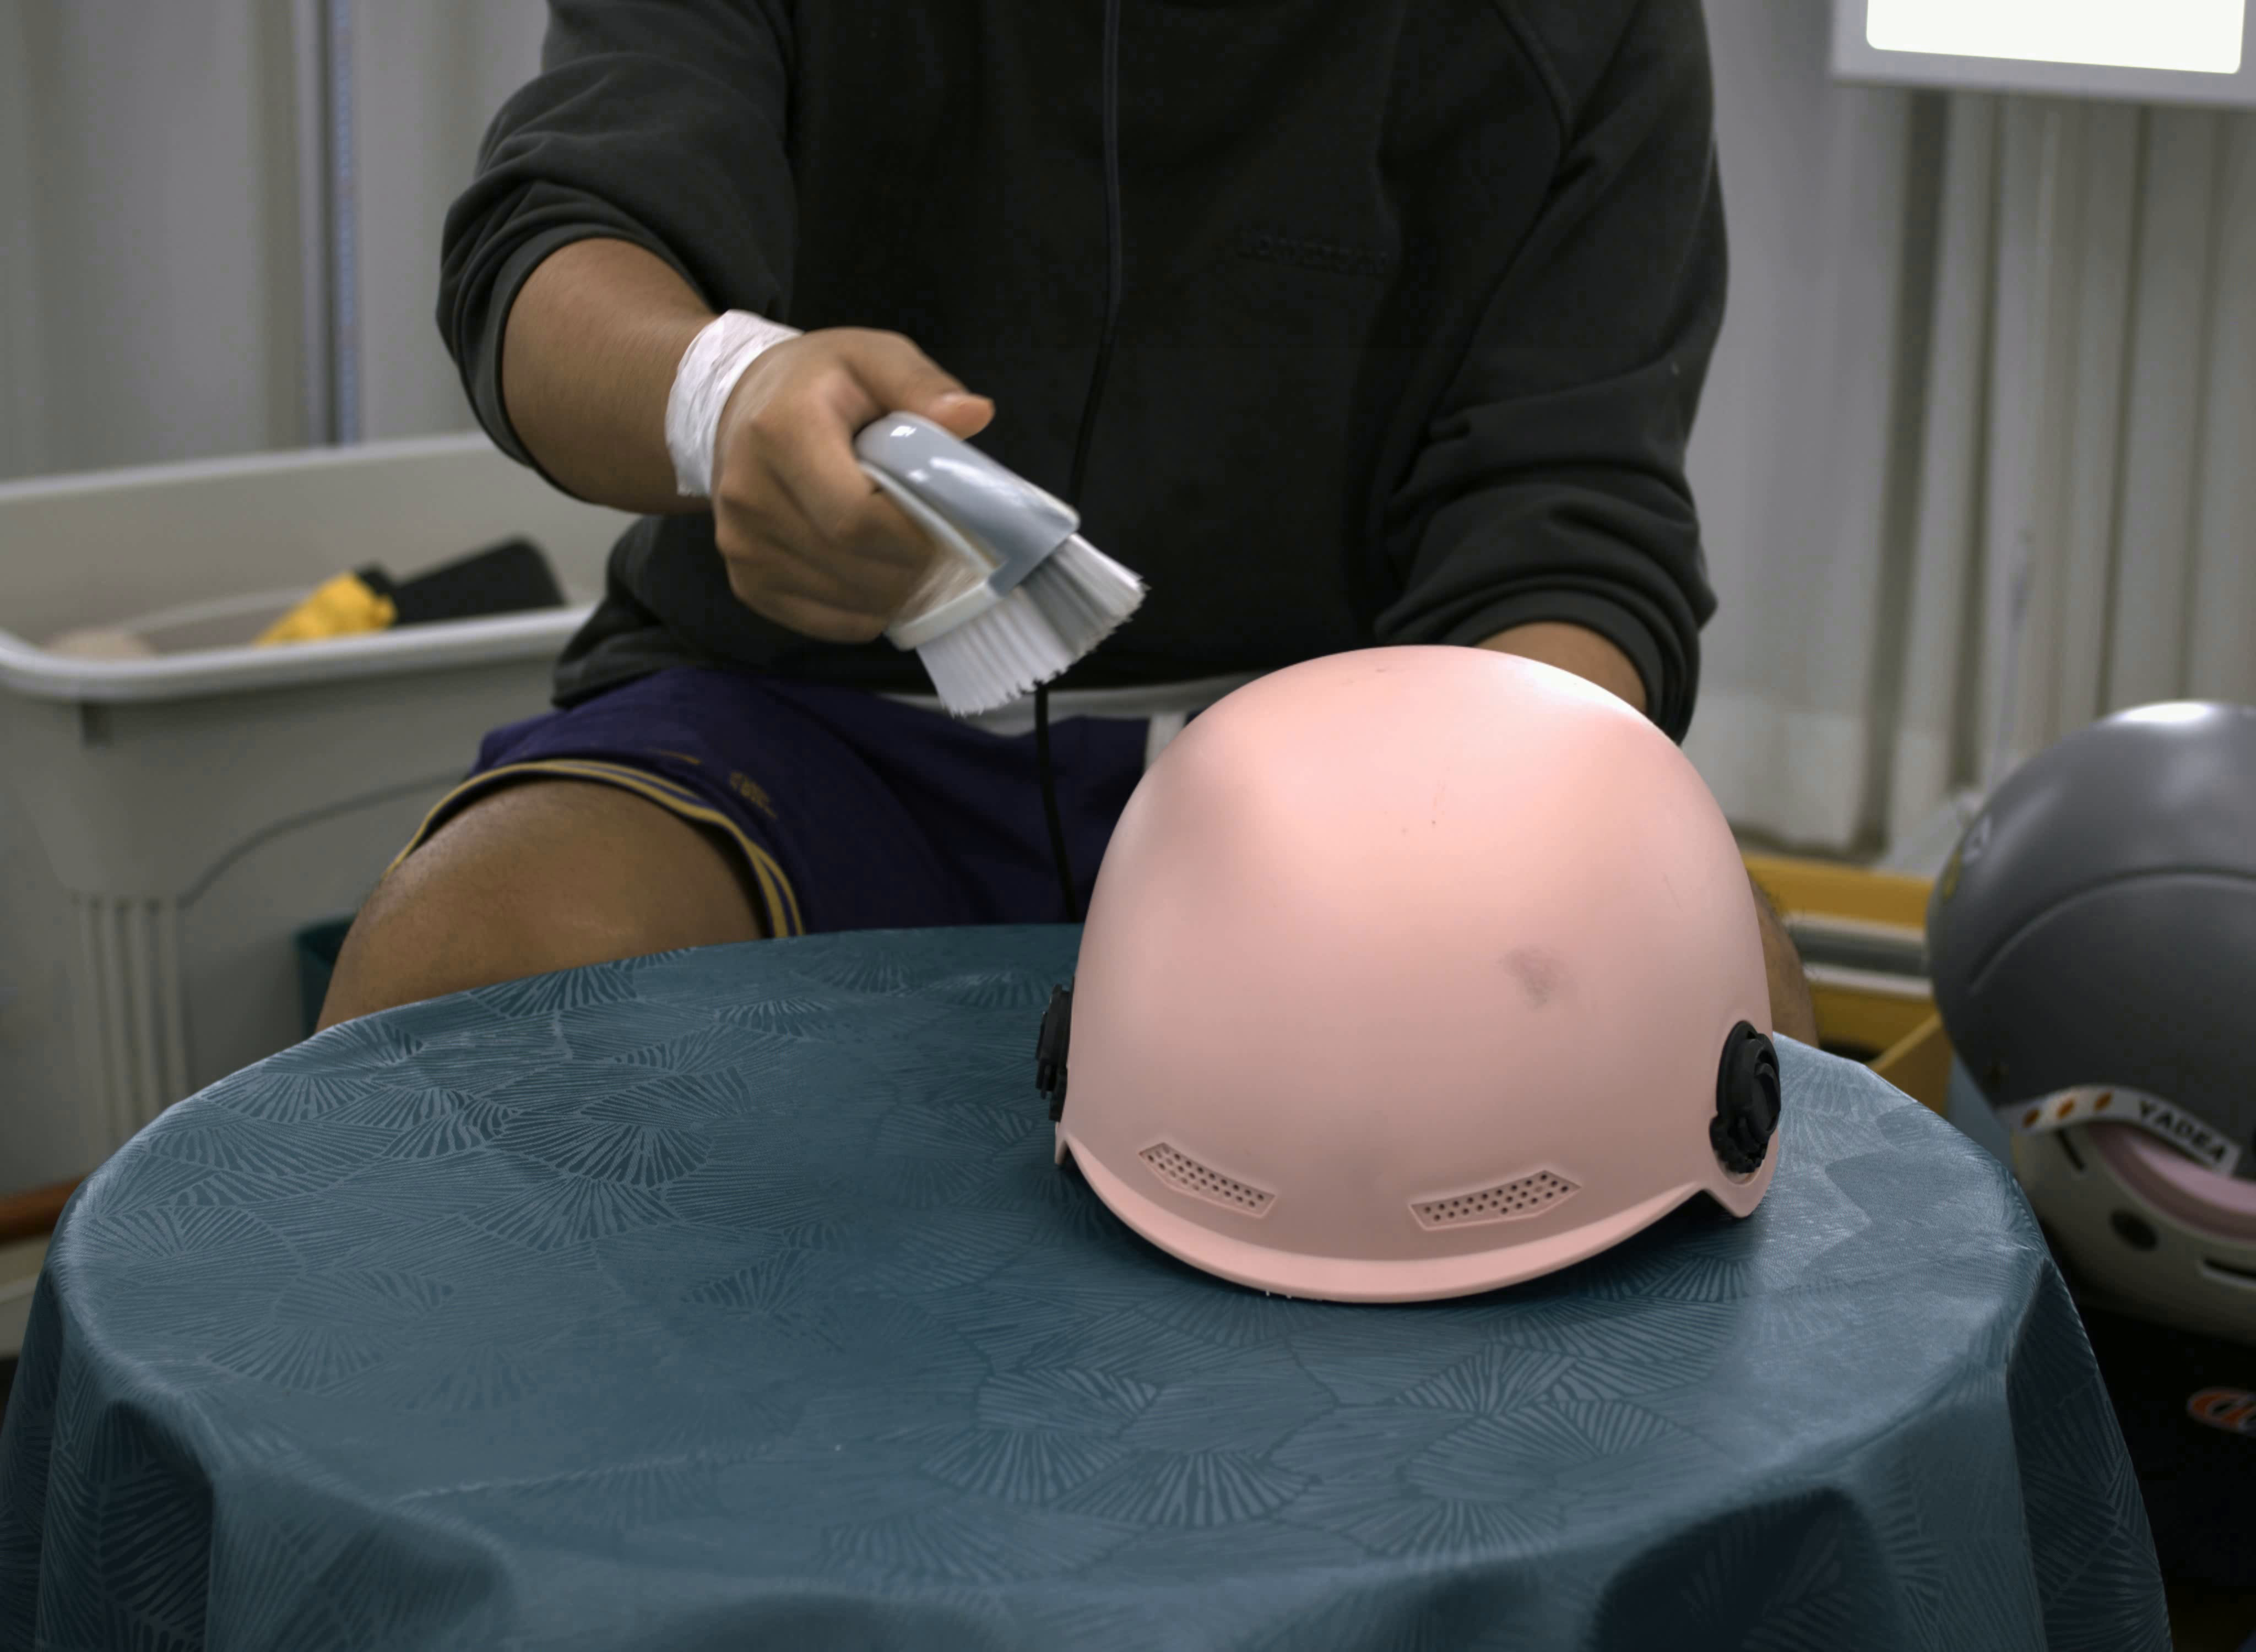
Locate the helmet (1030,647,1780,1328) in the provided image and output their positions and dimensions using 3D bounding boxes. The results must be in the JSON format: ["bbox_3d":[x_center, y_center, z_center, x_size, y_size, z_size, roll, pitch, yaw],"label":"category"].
[{"bbox_3d":[0.088,0.034,1.623,0.232,0.160,0.265,4,23,10],"label":"helmet"}]

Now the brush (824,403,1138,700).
[{"bbox_3d":[-0.047,-0.090,1.582,0.061,0.095,0.174,-45,10,-7],"label":"brush"}]
